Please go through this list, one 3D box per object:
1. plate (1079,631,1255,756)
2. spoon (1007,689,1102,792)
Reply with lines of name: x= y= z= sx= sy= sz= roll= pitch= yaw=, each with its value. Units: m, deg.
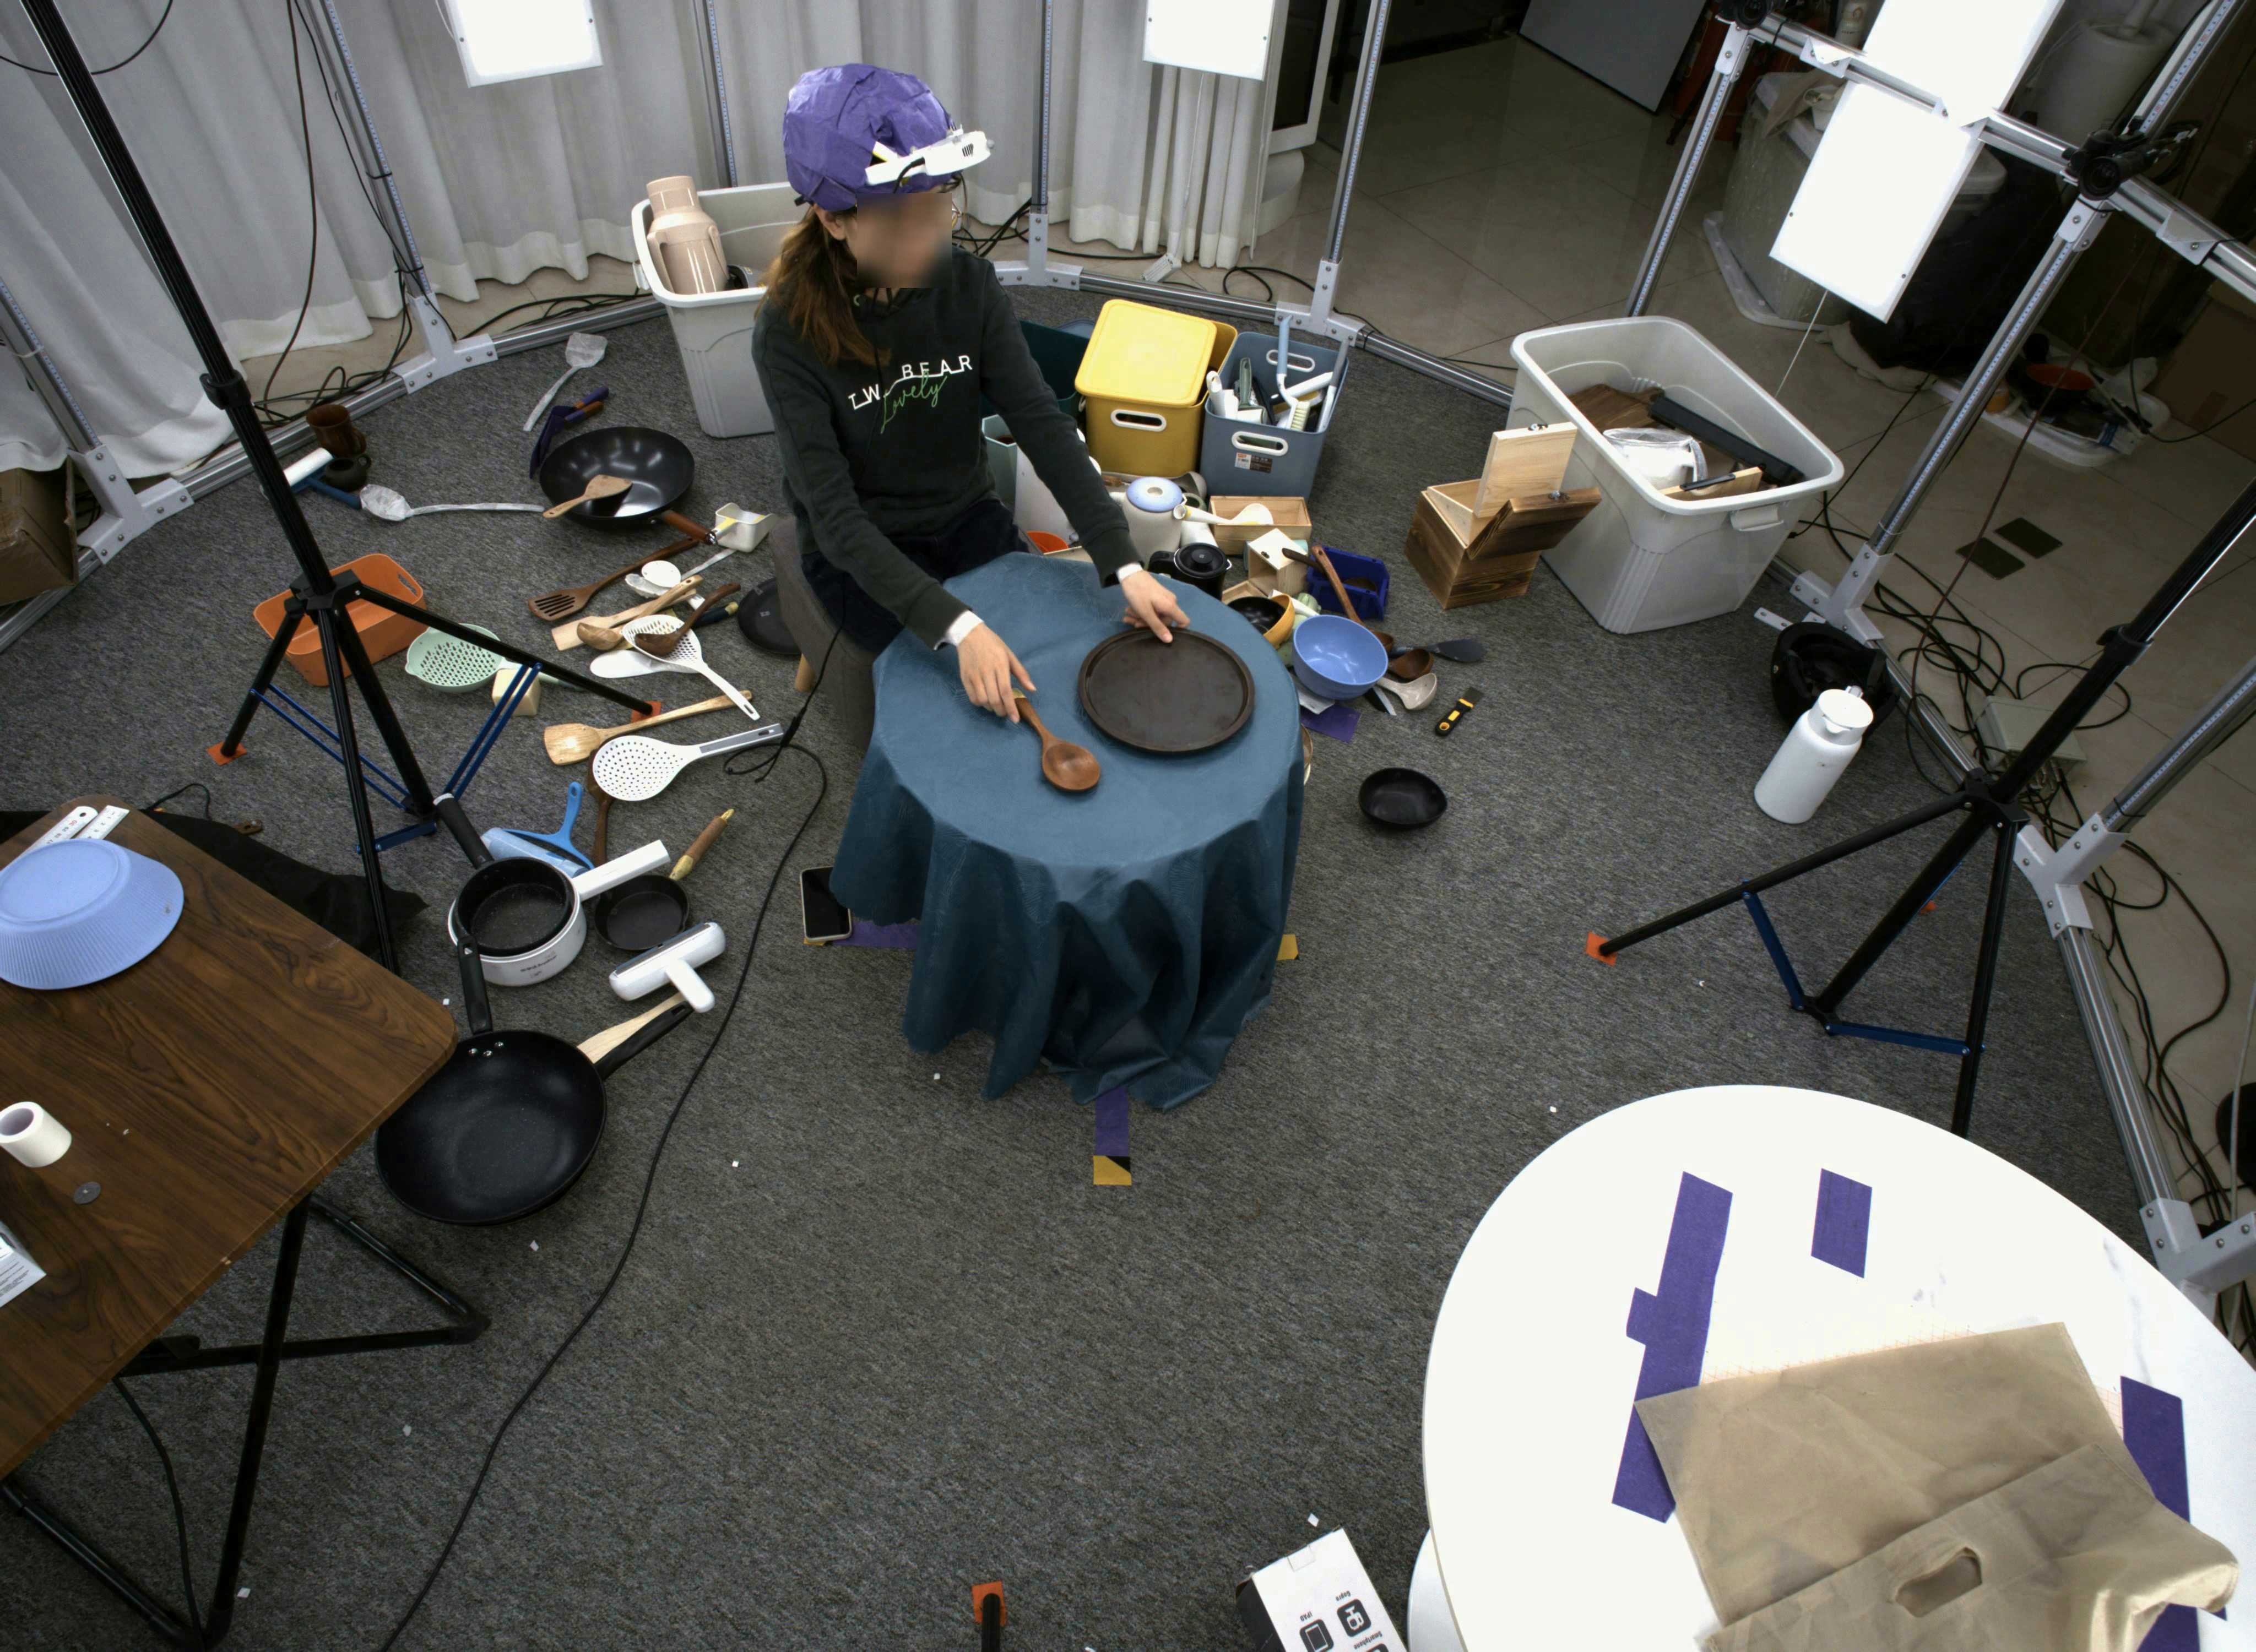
plate: x=0.056 y=-0.192 z=1.841 sx=0.254 sy=0.028 sz=0.261 roll=3 pitch=49 yaw=-3
spoon: x=-0.108 y=-0.120 z=1.770 sx=0.076 sy=0.017 sz=0.220 roll=-23 pitch=54 yaw=-22
